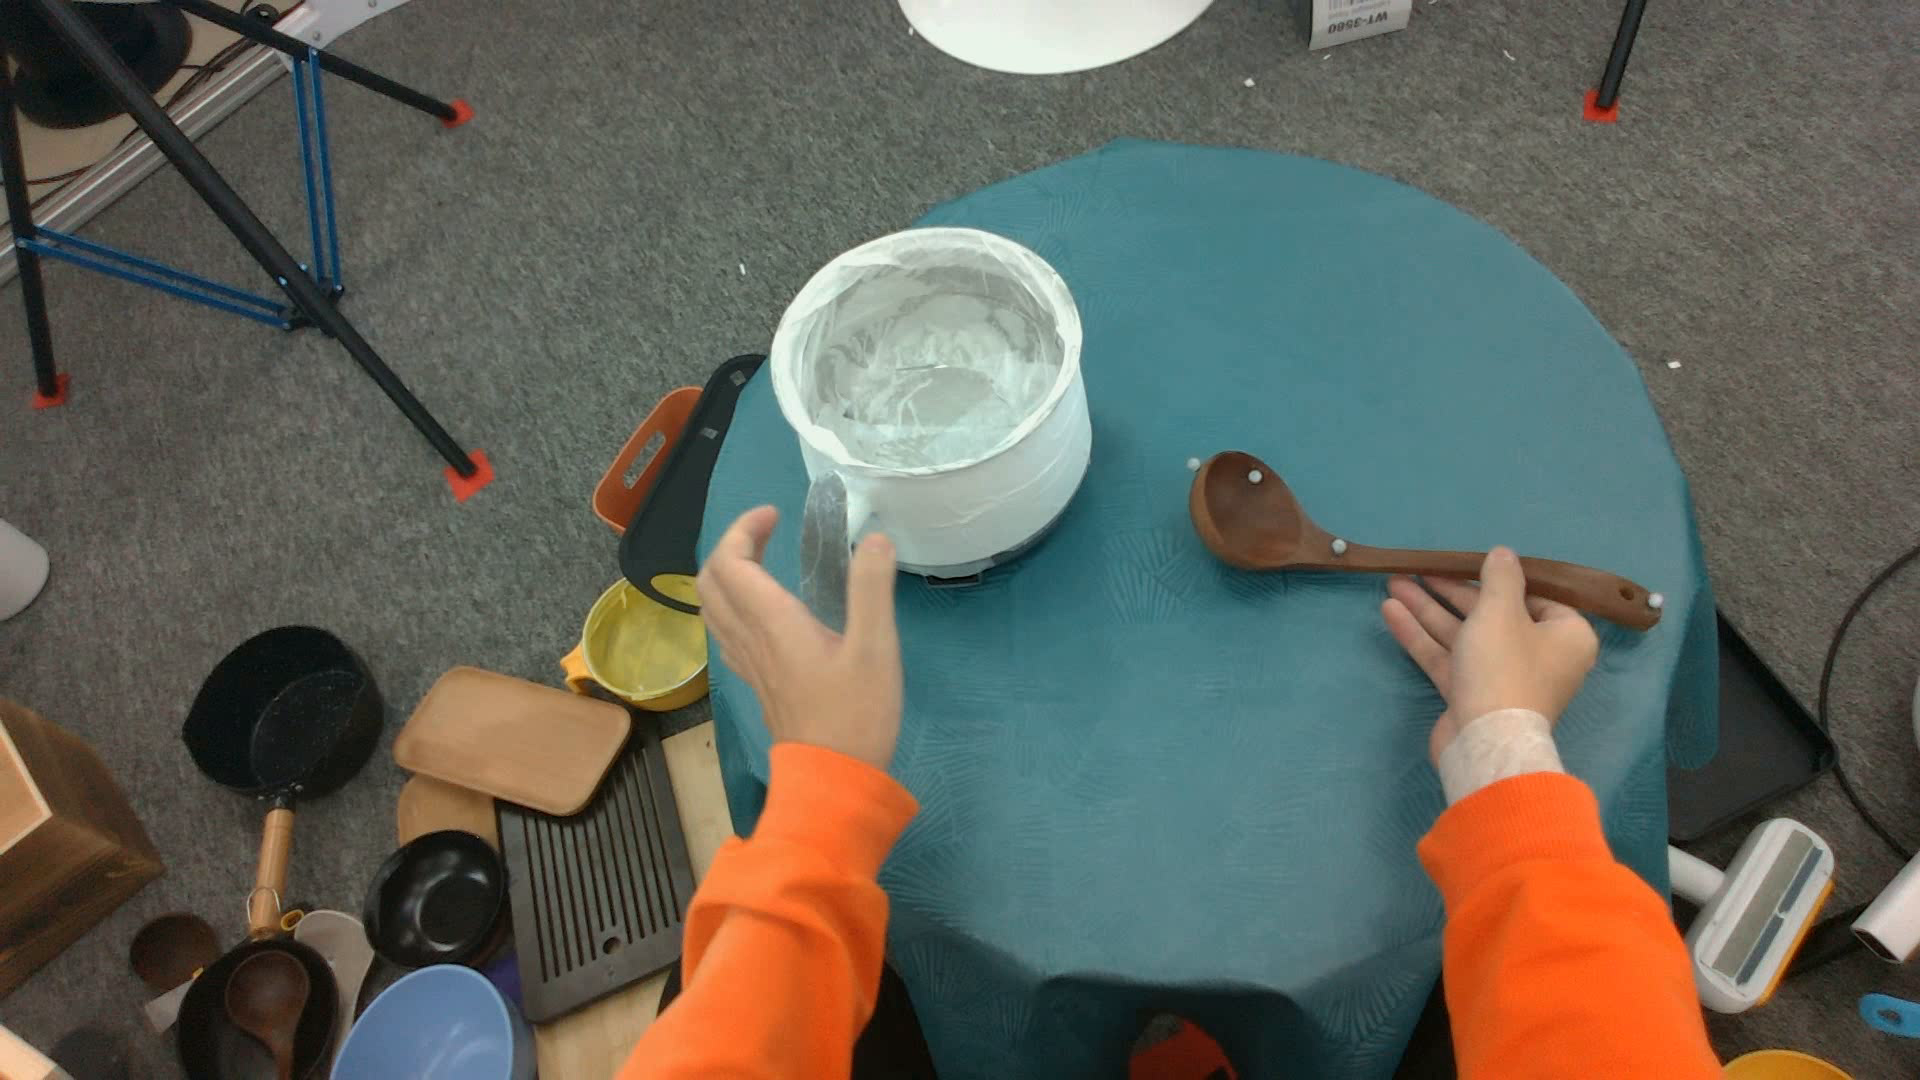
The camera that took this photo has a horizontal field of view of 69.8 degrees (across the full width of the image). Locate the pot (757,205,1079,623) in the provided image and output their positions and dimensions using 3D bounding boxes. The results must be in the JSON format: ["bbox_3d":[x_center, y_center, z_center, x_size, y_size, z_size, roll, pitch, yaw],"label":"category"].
[{"bbox_3d":[-0.032,-0.067,0.811,0.178,0.136,0.234,21,65,20],"label":"pot"}]

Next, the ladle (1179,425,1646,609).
[{"bbox_3d":[0.252,-0.010,0.776,0.260,0.065,0.077,12,58,18],"label":"ladle"}]
